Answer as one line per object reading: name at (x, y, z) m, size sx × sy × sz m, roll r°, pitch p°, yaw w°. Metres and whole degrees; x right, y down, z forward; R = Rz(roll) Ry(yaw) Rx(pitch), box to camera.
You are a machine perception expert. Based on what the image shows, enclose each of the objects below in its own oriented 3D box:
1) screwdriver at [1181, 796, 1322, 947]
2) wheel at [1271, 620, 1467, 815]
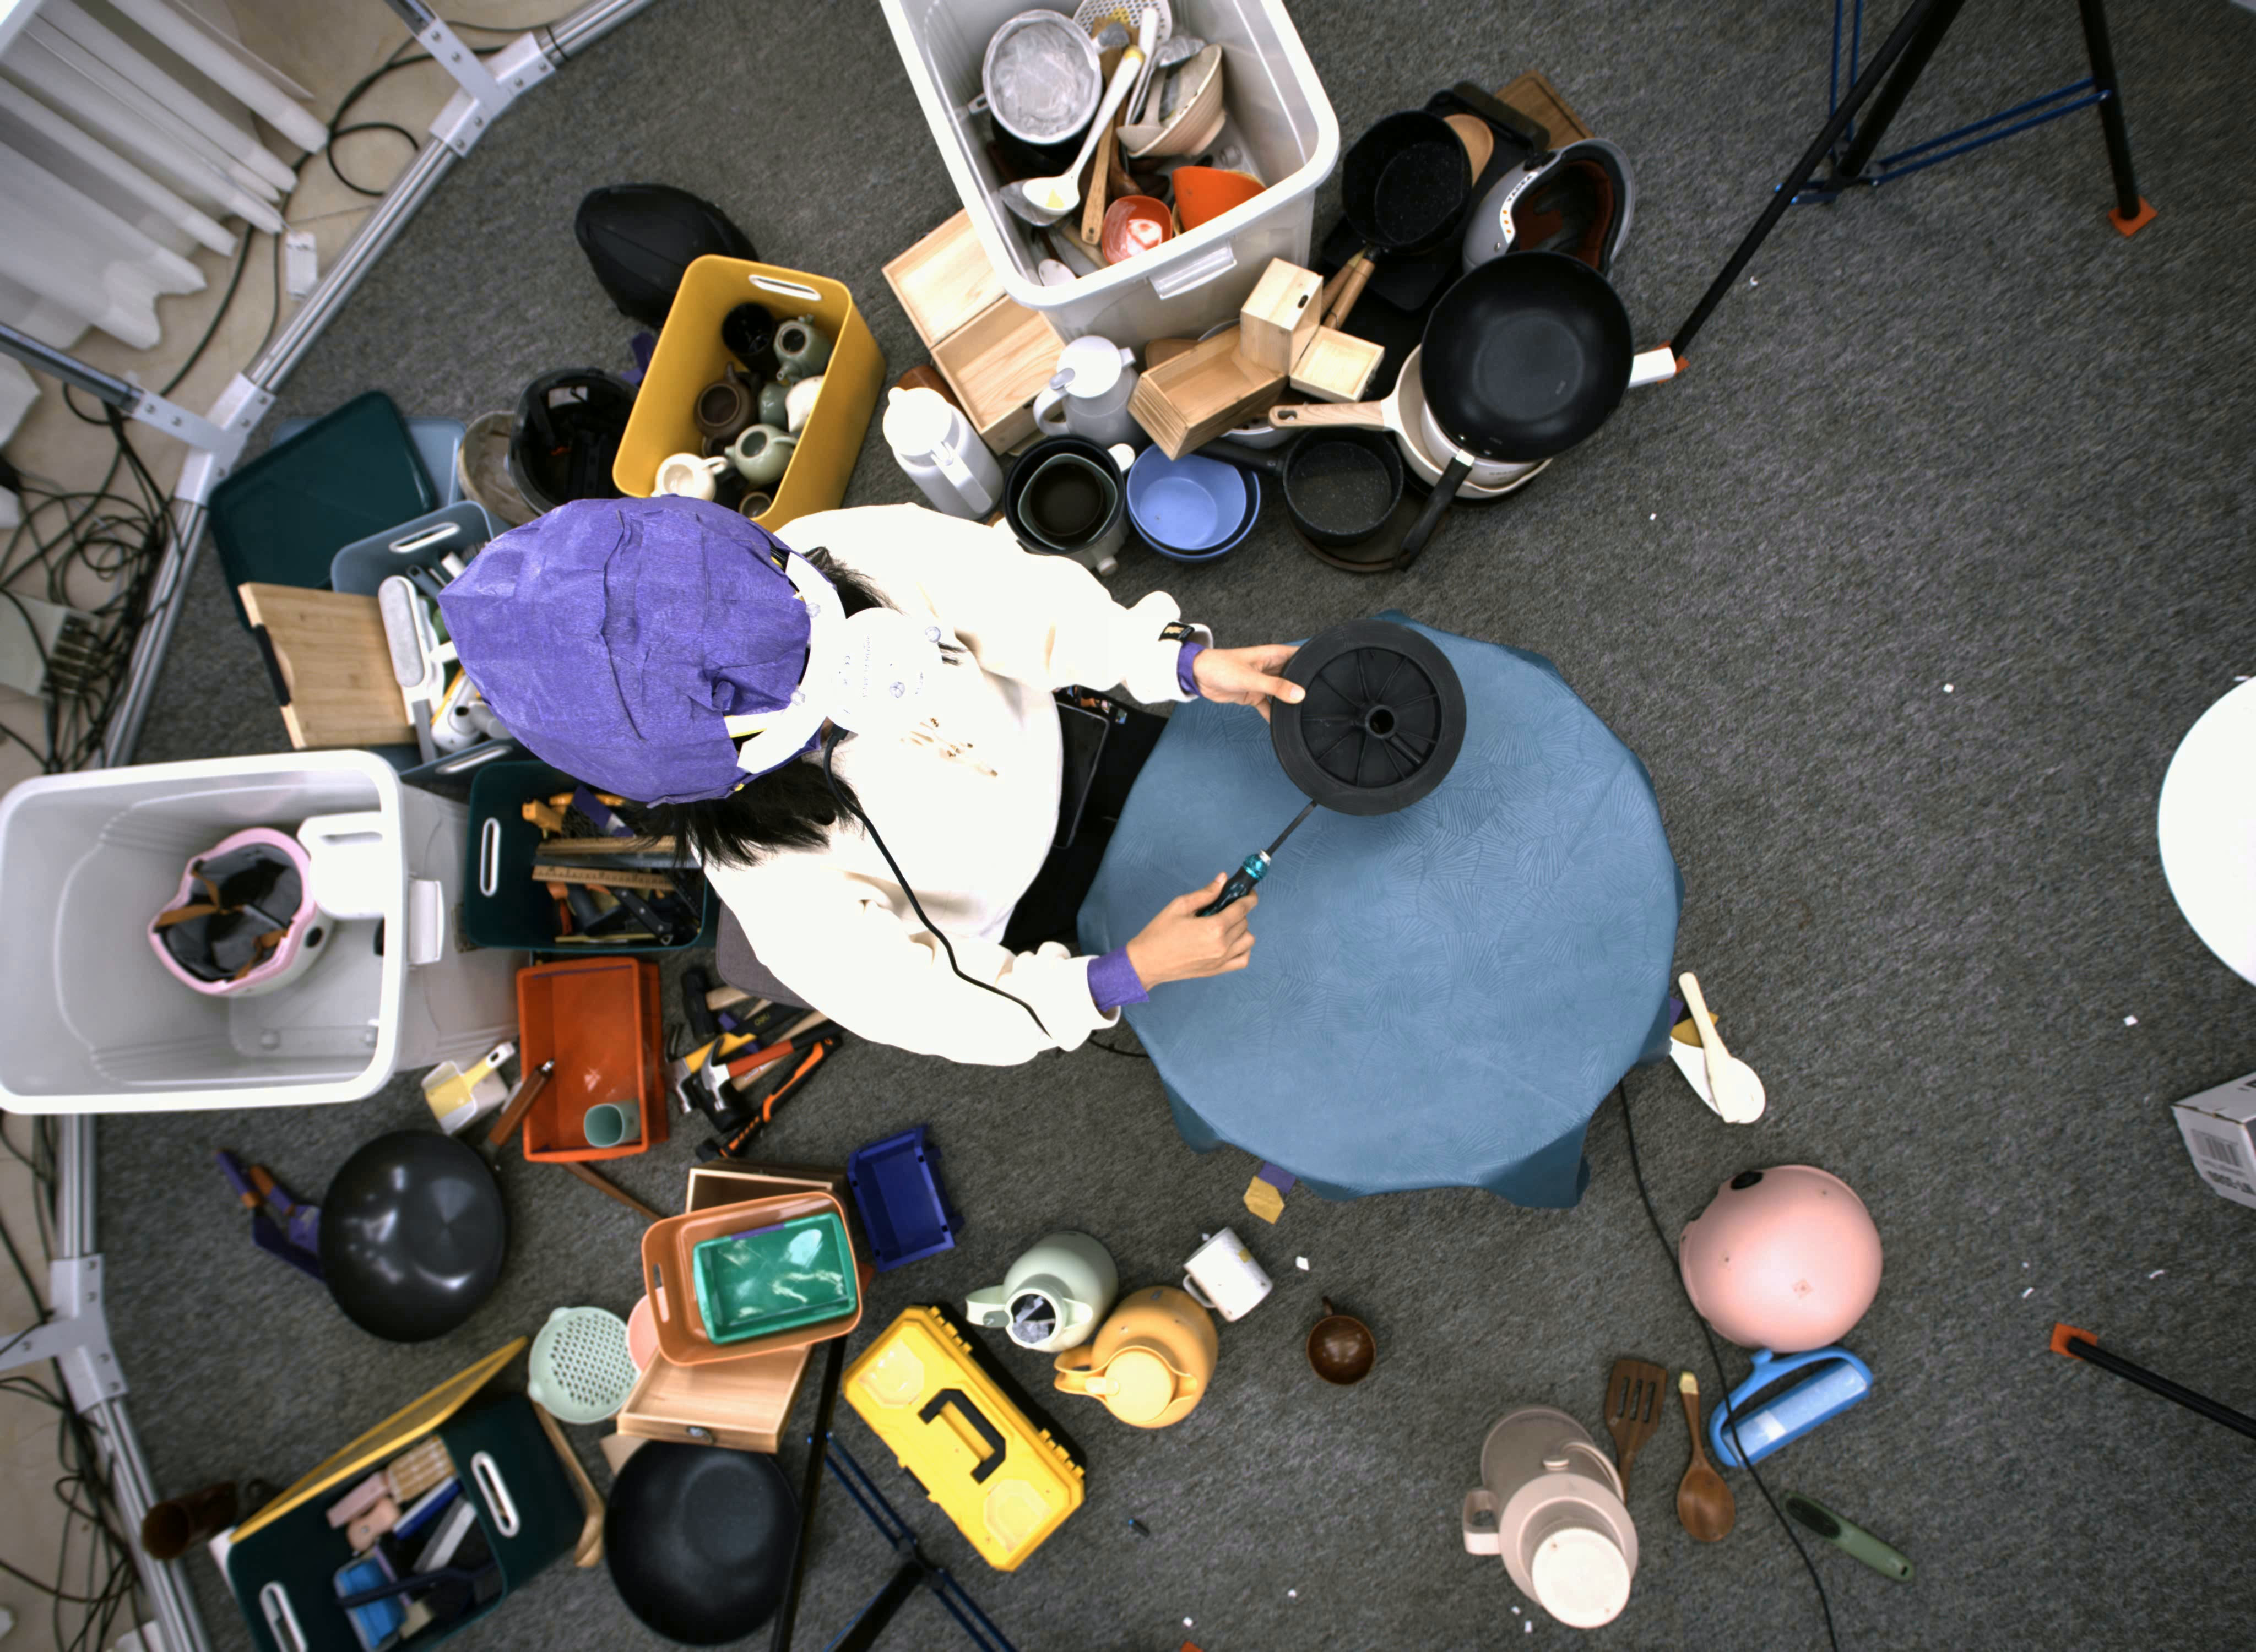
screwdriver at (0.122, 0.041, 1.331) m, size 0.033 × 0.033 × 0.191 m, roll 43°, pitch 100°, yaw 11°
wheel at (0.233, -0.101, 1.296) m, size 0.190 × 0.078 × 0.189 m, roll 16°, pitch 99°, yaw -7°
